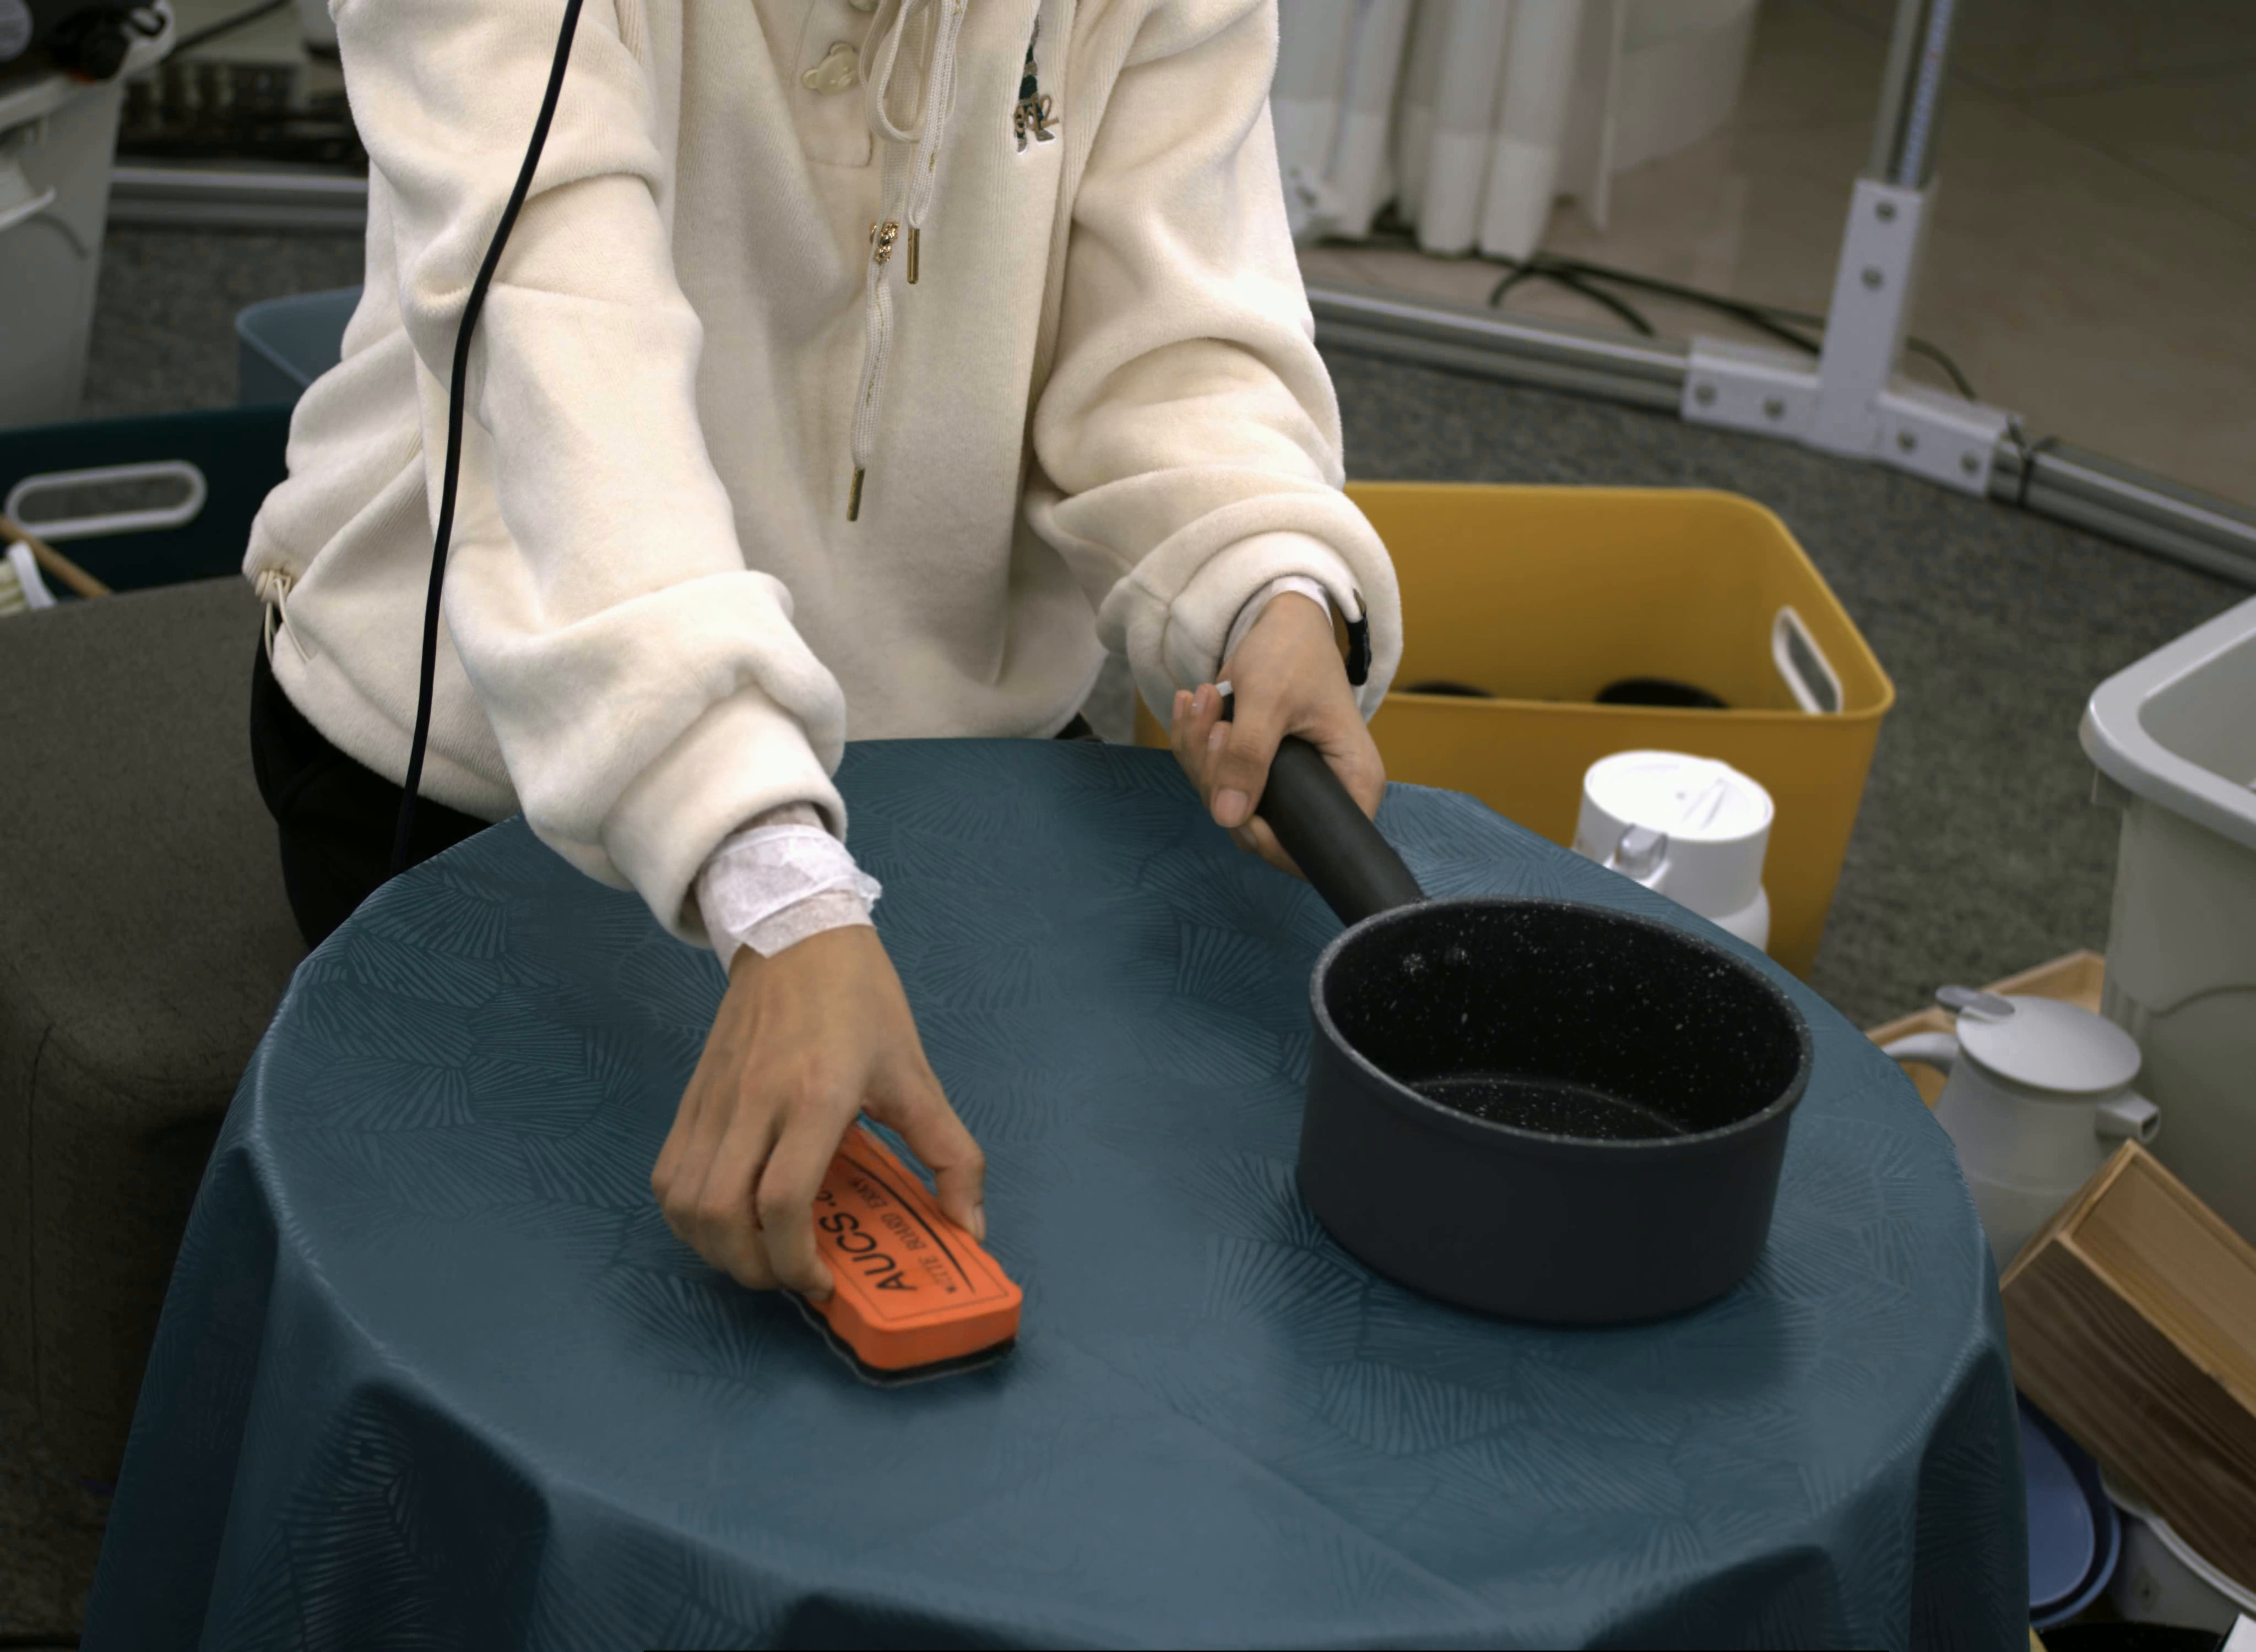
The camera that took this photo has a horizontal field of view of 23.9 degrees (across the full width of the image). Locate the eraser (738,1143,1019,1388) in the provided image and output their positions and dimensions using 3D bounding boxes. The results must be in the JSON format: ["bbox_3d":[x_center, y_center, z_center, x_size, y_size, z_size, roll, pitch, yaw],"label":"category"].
[{"bbox_3d":[-0.082,0.141,1.723,0.058,0.023,0.109,-9,31,-27],"label":"eraser"}]

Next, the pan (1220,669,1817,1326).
[{"bbox_3d":[0.110,0.057,1.864,0.171,0.086,0.332,-6,31,-24],"label":"pan"}]
